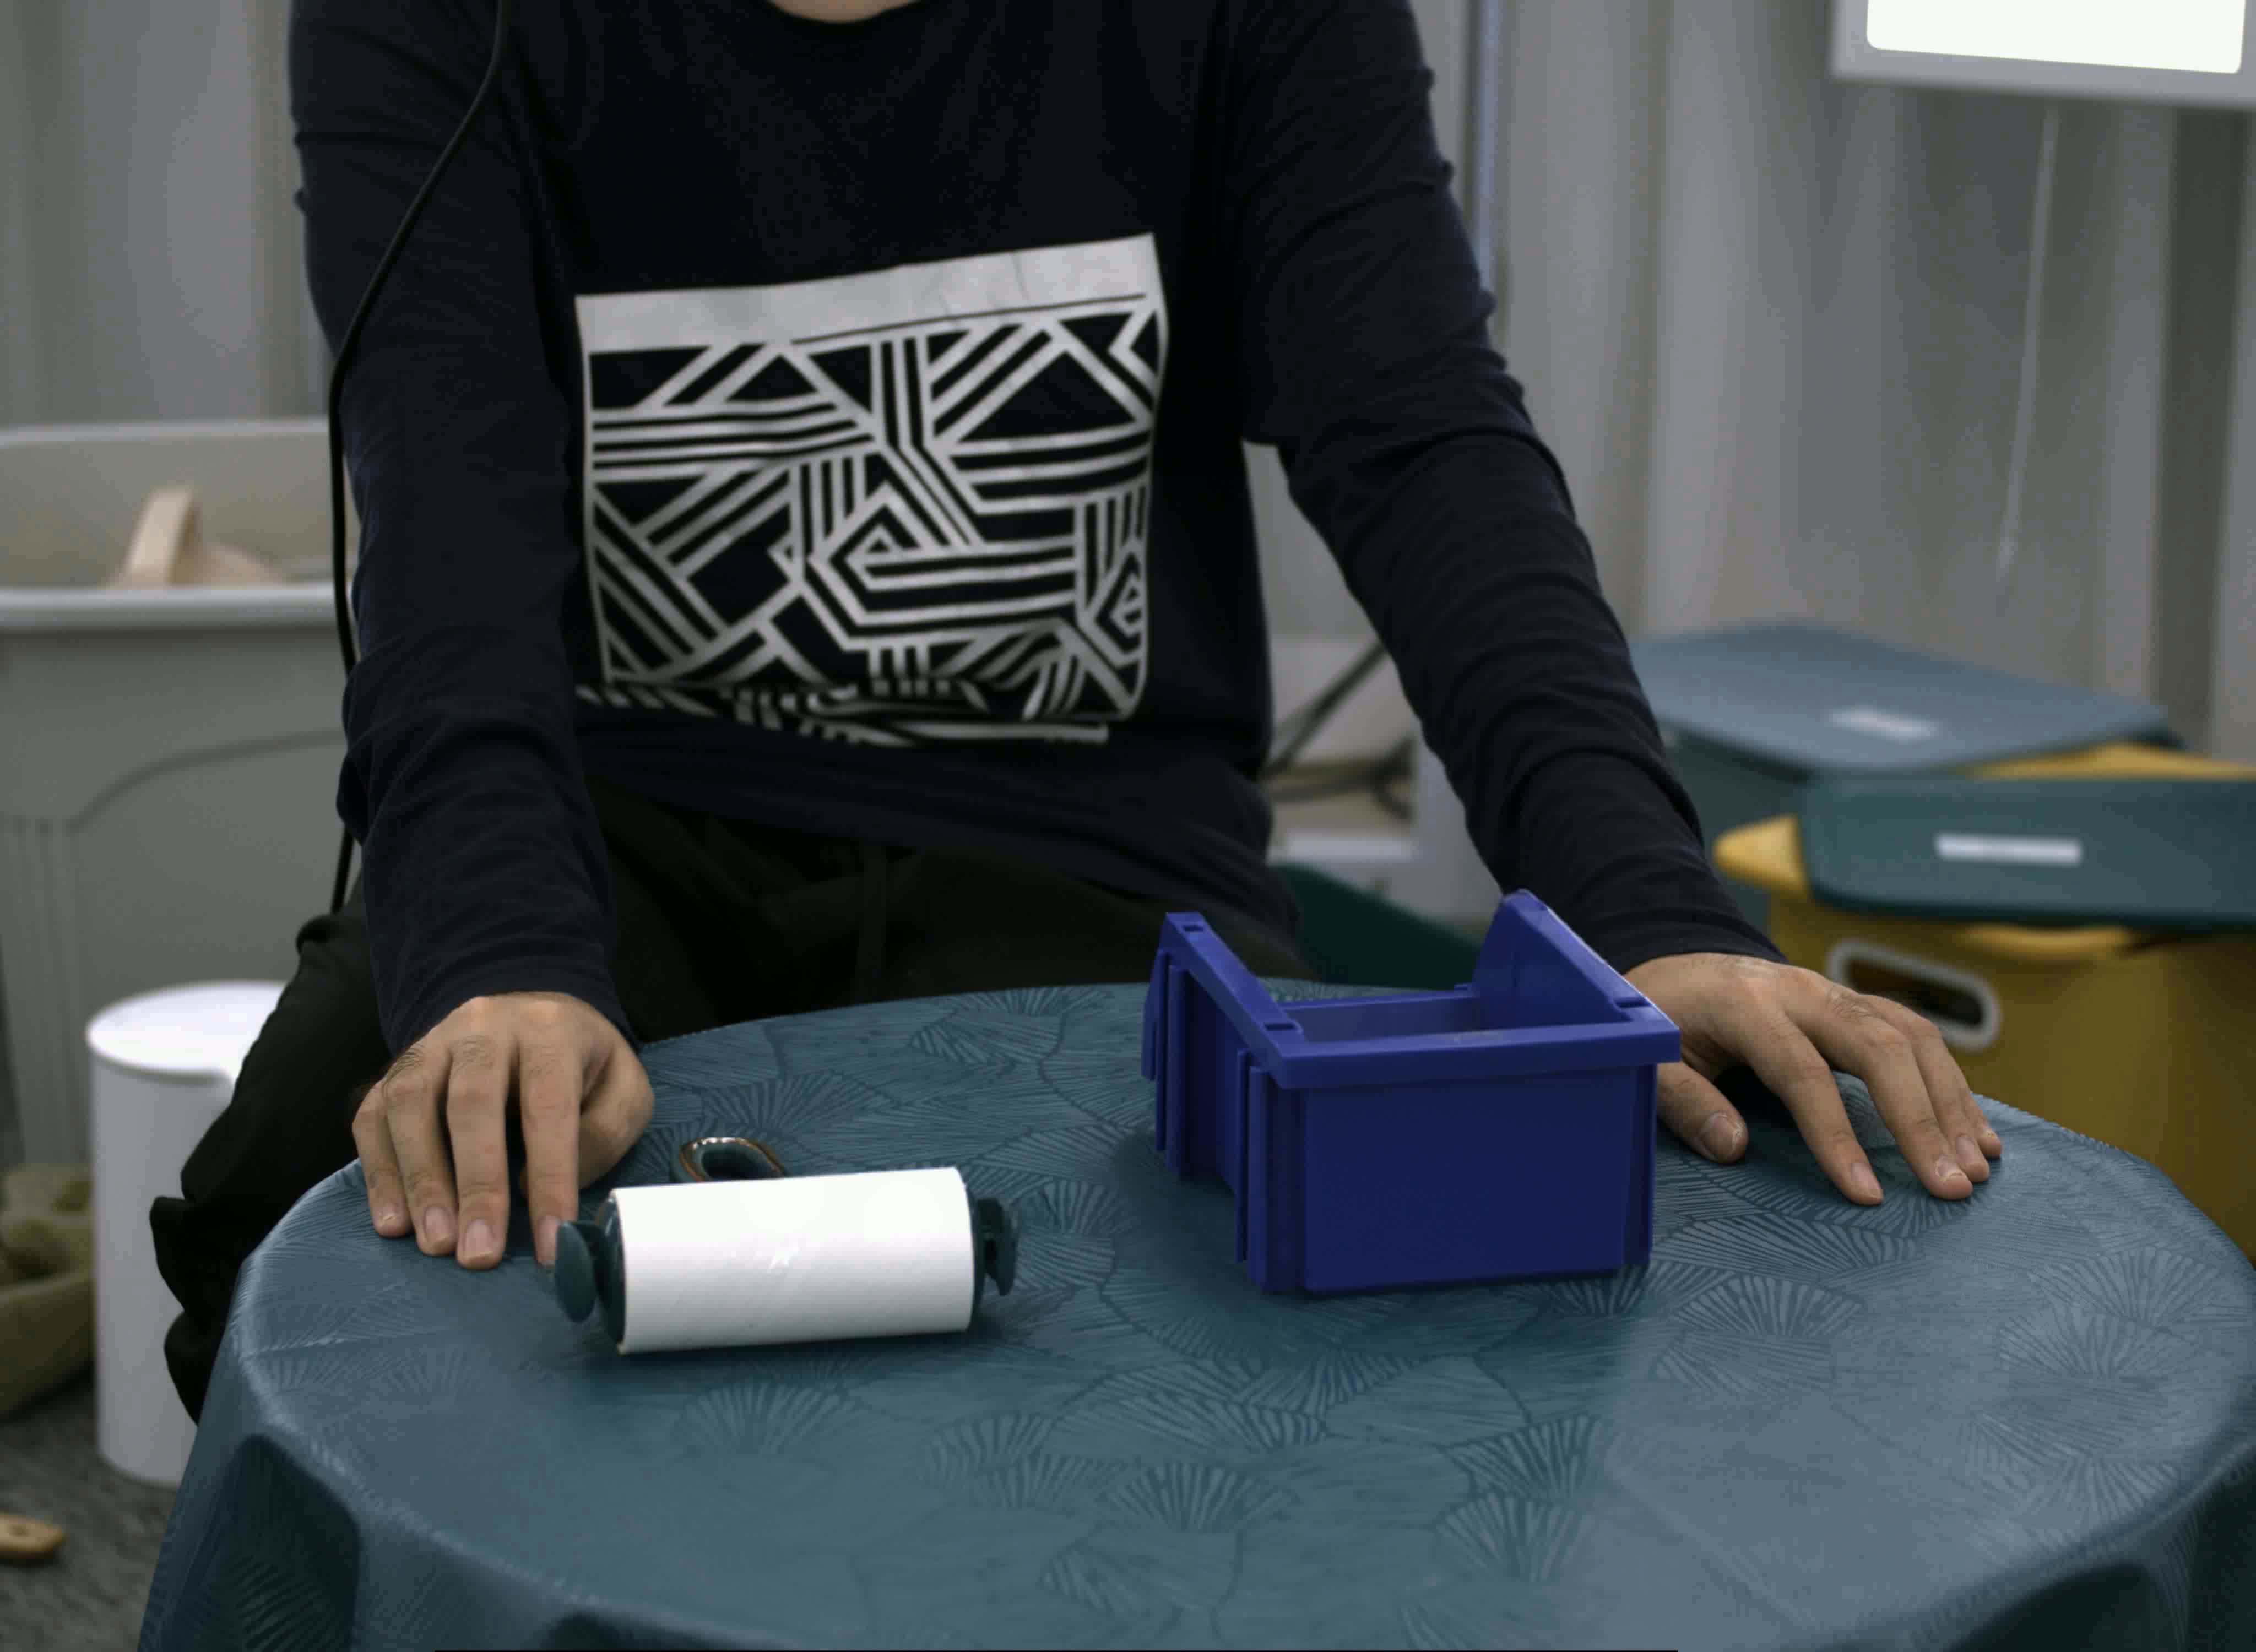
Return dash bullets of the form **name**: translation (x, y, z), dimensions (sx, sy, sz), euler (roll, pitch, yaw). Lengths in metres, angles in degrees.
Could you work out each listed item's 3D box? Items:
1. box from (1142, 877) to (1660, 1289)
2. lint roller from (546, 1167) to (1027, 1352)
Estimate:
- **box**: translation (0.077, 0.074, 1.613), dimensions (0.124, 0.082, 0.177), euler (-4, 19, -11)
- **lint roller**: translation (-0.112, 0.109, 1.556), dimensions (0.134, 0.048, 0.178), euler (-2, 12, -13)
